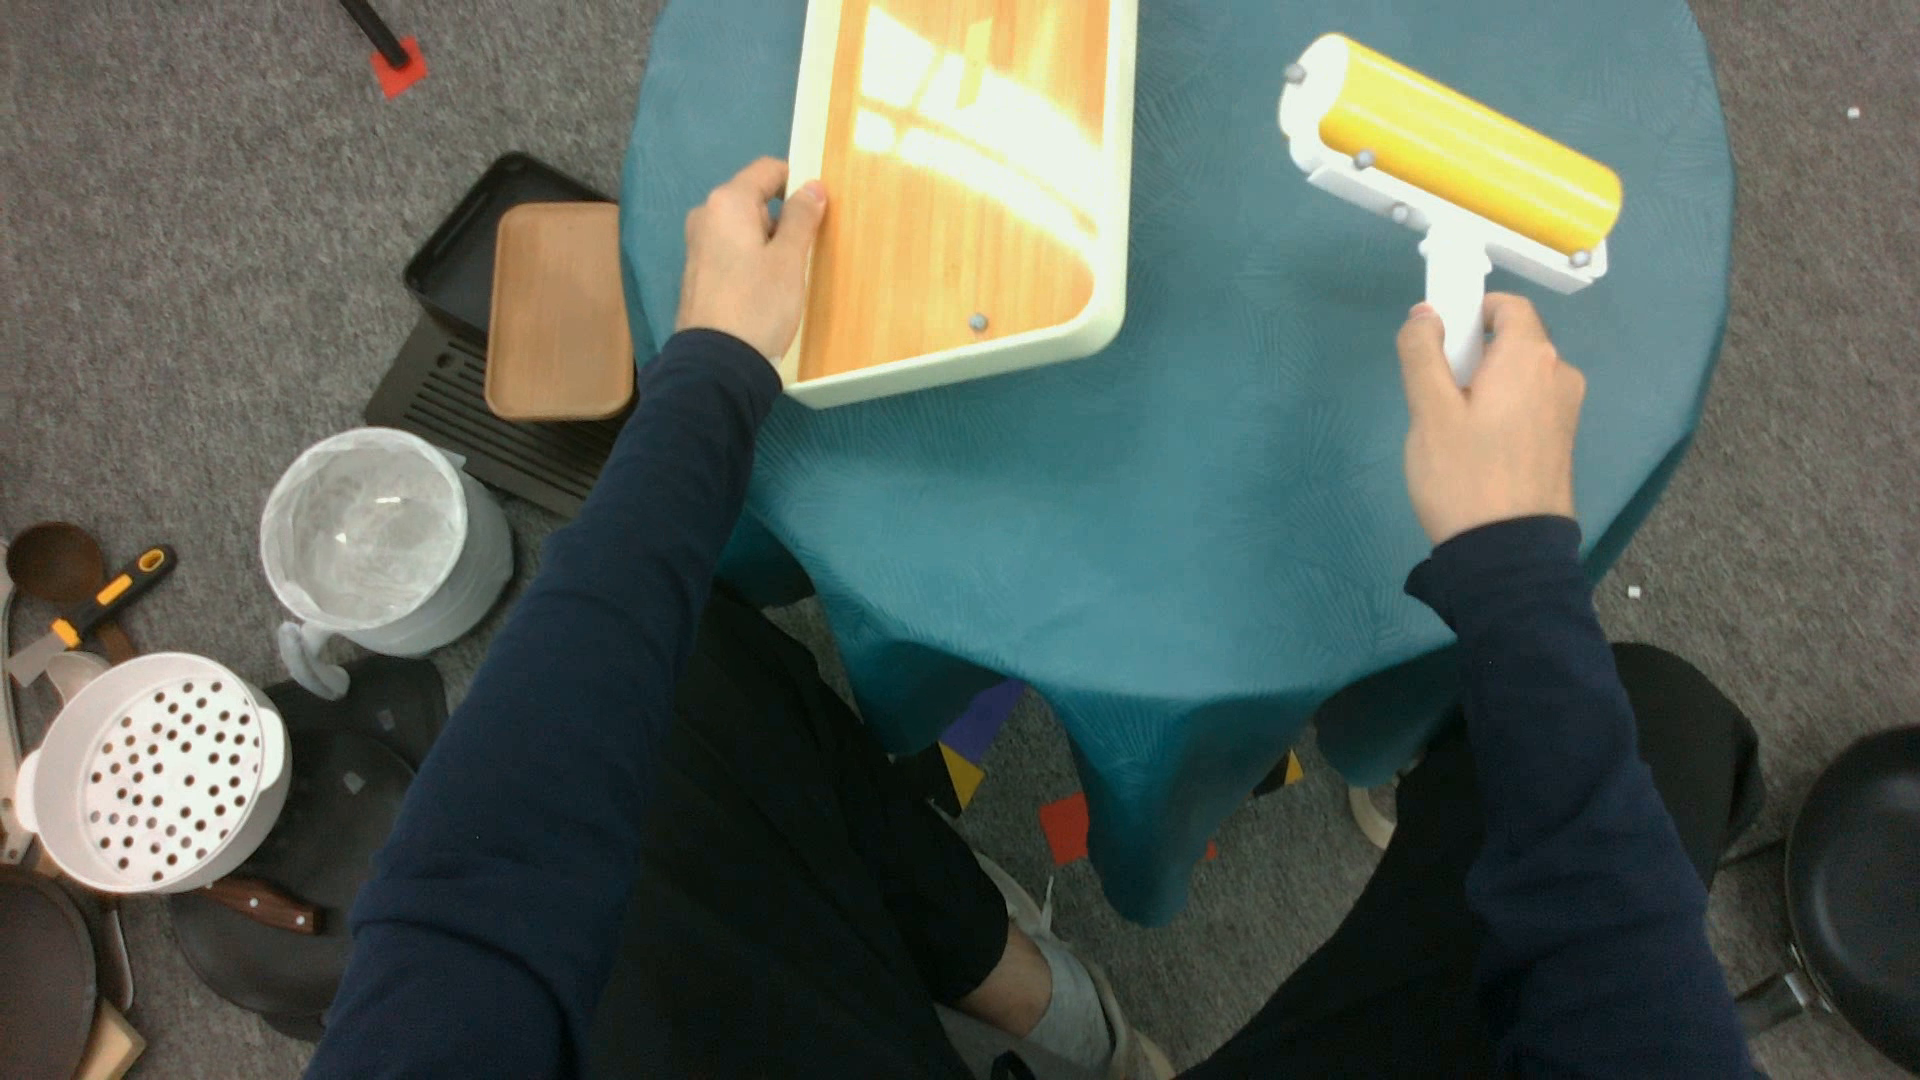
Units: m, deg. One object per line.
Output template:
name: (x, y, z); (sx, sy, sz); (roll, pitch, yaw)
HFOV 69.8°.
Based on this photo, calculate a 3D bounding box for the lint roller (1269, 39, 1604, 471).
lint roller: (0.224, -0.123, 0.624); (0.174, 0.051, 0.193); (16, 58, -19)

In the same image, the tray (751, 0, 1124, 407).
tray: (-0.009, -0.219, 0.698); (0.191, 0.027, 0.301); (-6, 69, 29)
